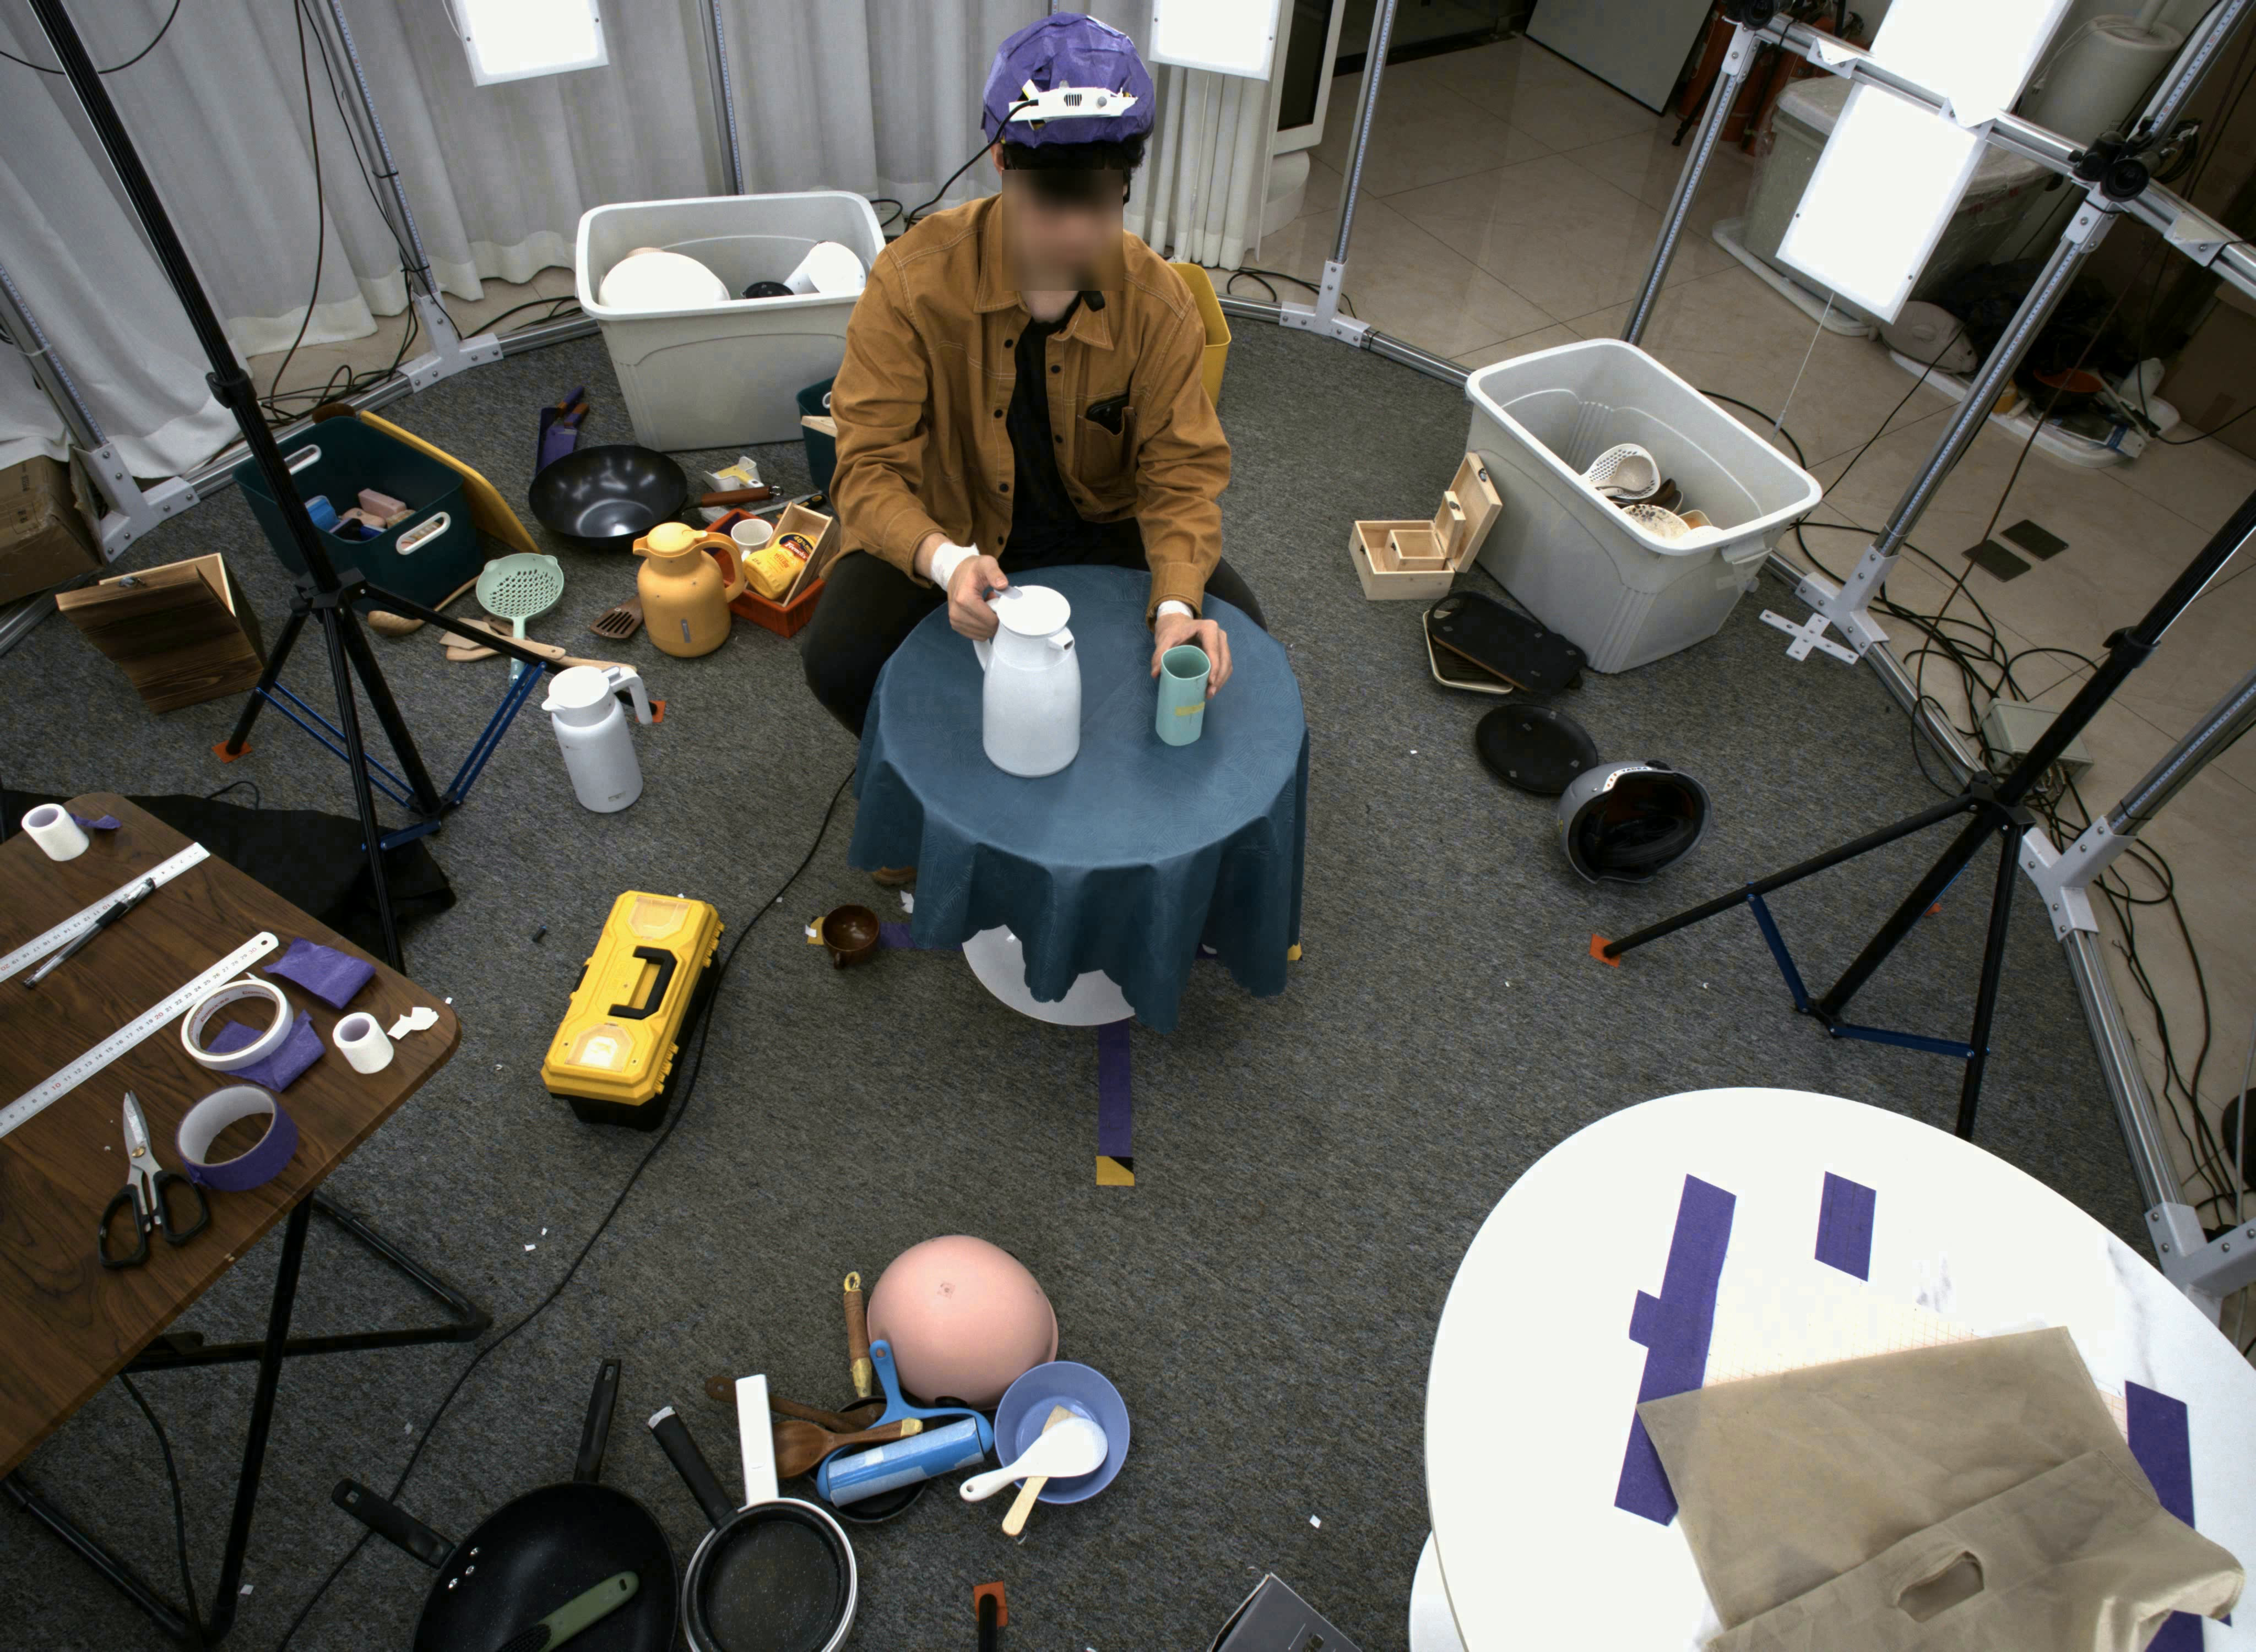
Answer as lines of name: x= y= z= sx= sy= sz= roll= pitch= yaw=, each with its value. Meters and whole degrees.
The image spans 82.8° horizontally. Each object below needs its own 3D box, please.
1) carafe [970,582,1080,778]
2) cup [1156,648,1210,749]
carafe: x=-0.141 y=-0.202 z=1.676 sx=0.170 sy=0.242 sz=0.134 roll=35 pitch=56 yaw=24
cup: x=0.073 y=-0.174 z=1.744 sx=0.066 sy=0.129 sz=0.068 roll=2 pitch=49 yaw=-2
